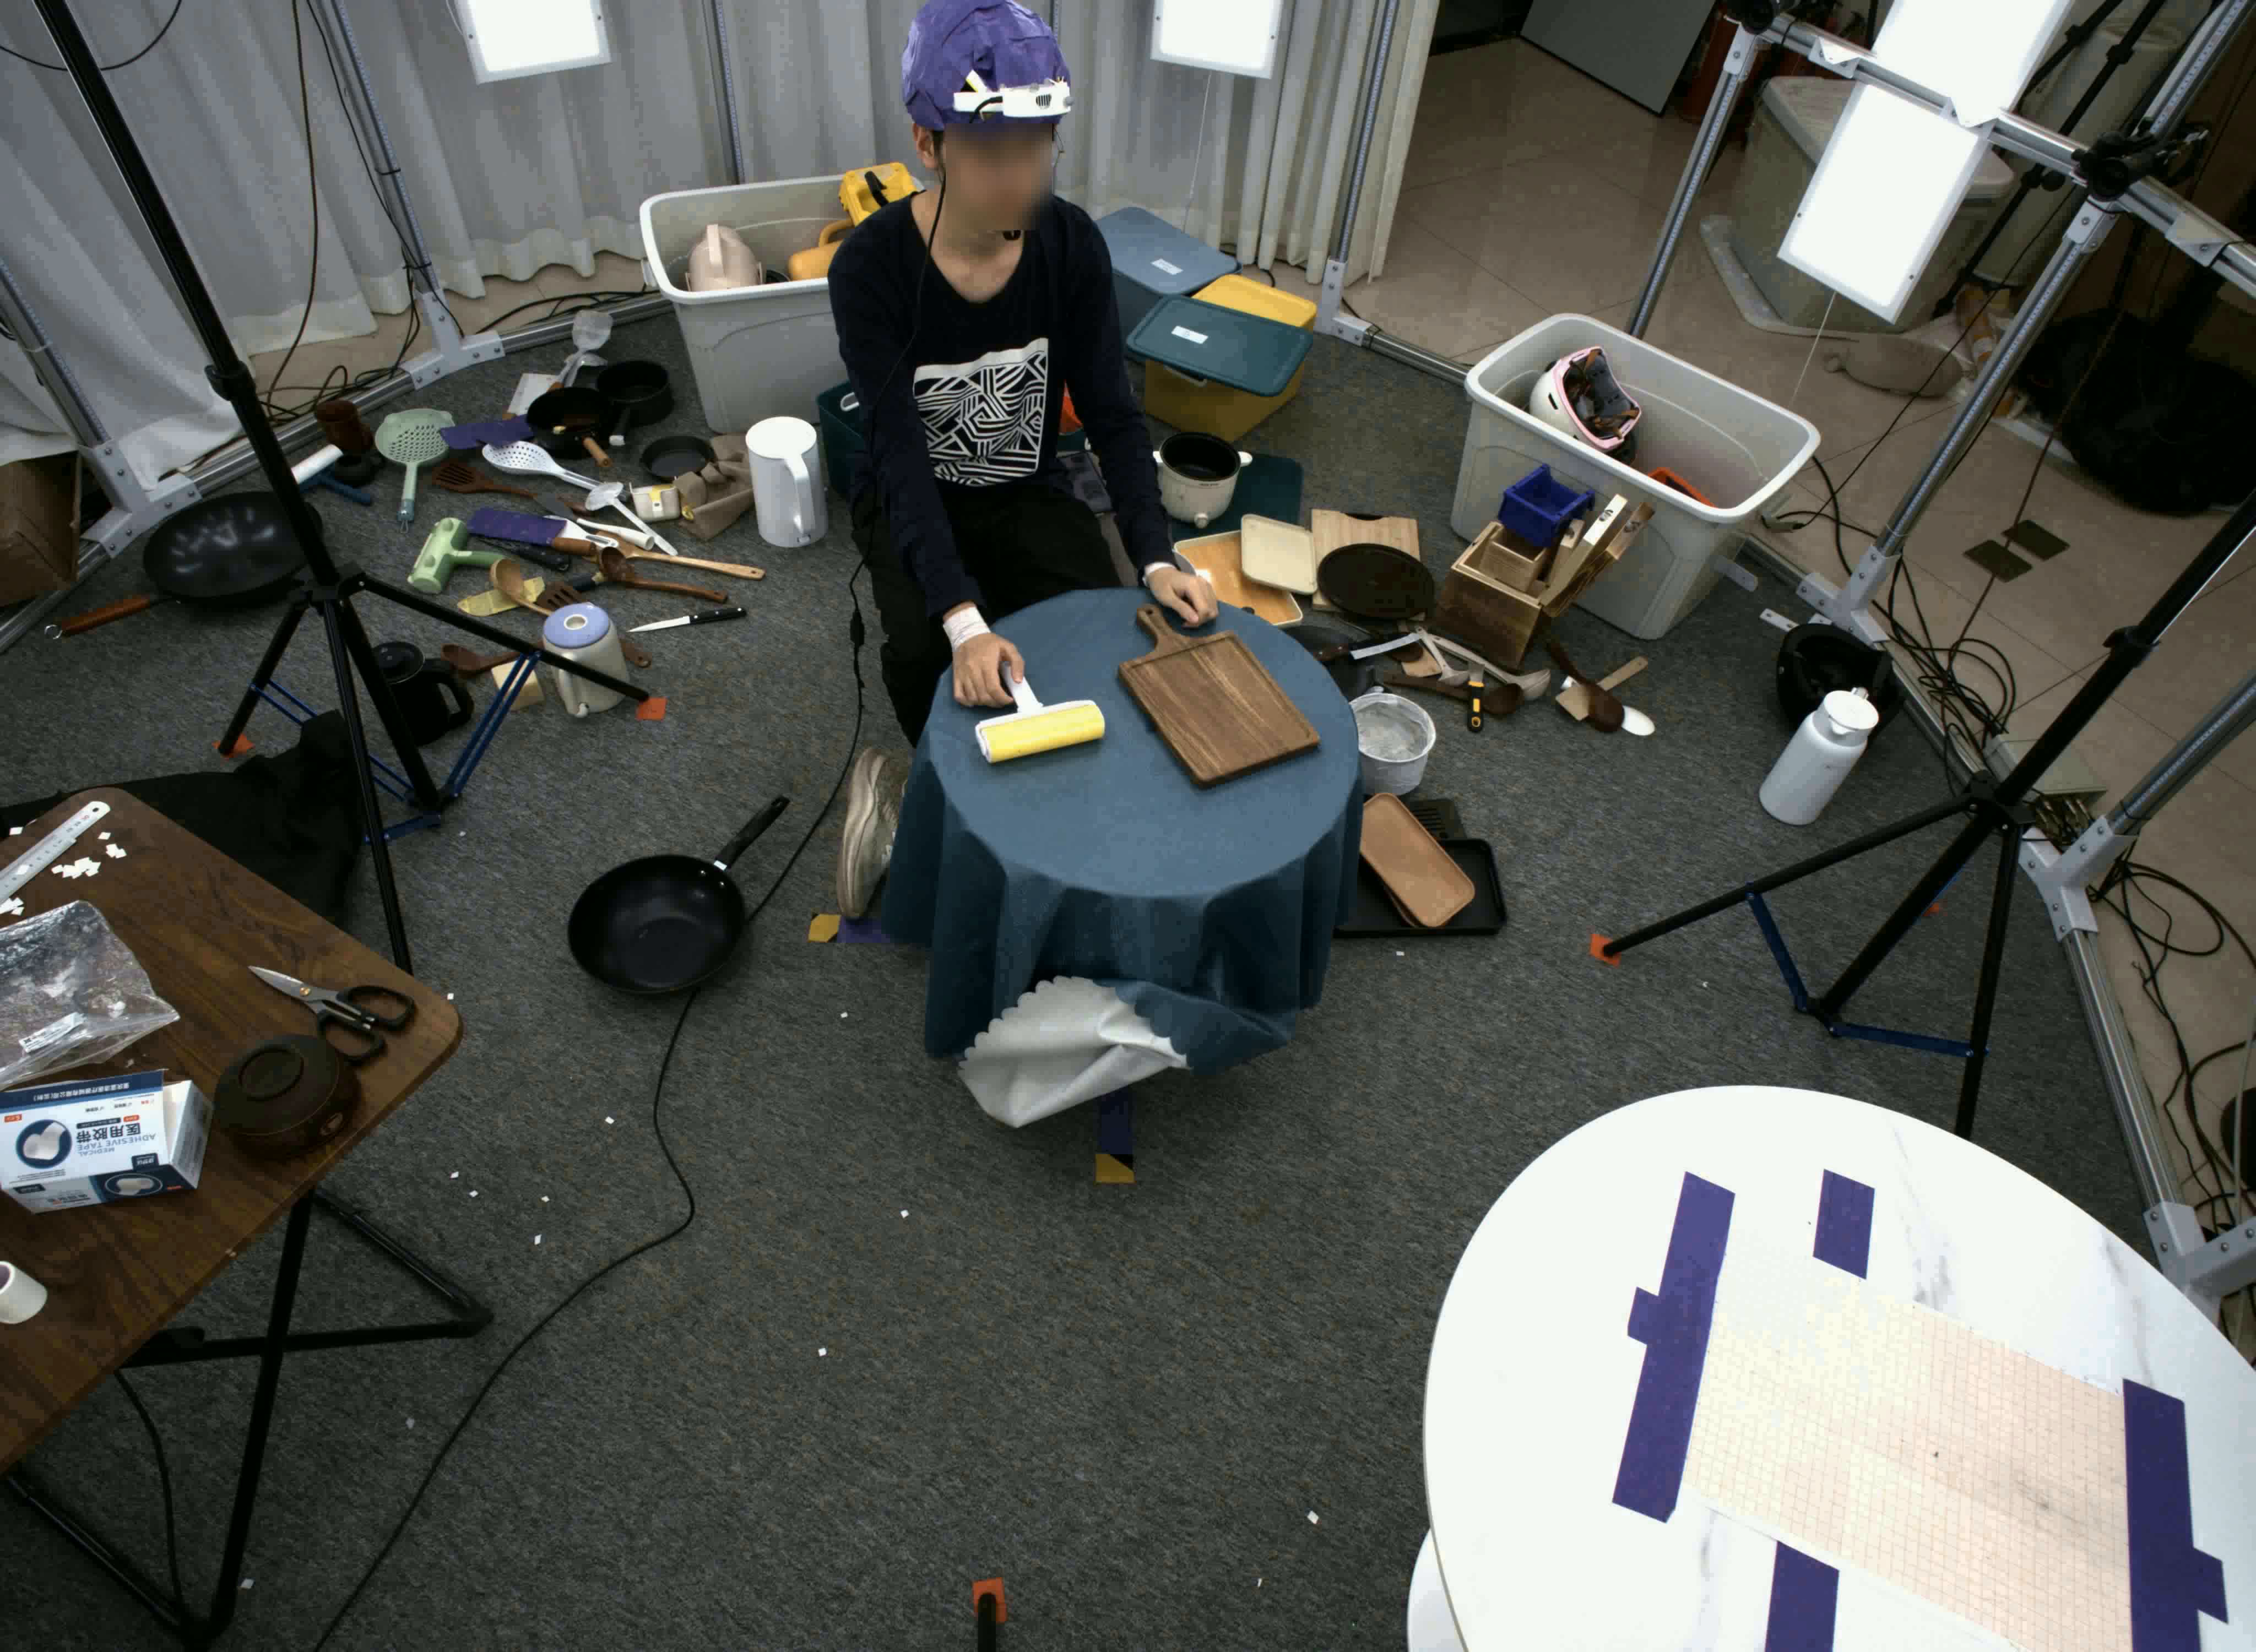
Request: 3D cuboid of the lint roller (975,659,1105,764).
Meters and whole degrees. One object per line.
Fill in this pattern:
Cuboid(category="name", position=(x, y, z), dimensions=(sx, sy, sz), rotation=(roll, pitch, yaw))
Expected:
Cuboid(category="lint roller", position=(-0.143, -0.177, 1.779), dimensions=(0.174, 0.050, 0.196), rotation=(-15, 54, -17))

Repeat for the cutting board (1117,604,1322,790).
Cuboid(category="cutting board", position=(0.103, -0.205, 1.839), dimensions=(0.201, 0.022, 0.360), rotation=(-19, 53, -20))
